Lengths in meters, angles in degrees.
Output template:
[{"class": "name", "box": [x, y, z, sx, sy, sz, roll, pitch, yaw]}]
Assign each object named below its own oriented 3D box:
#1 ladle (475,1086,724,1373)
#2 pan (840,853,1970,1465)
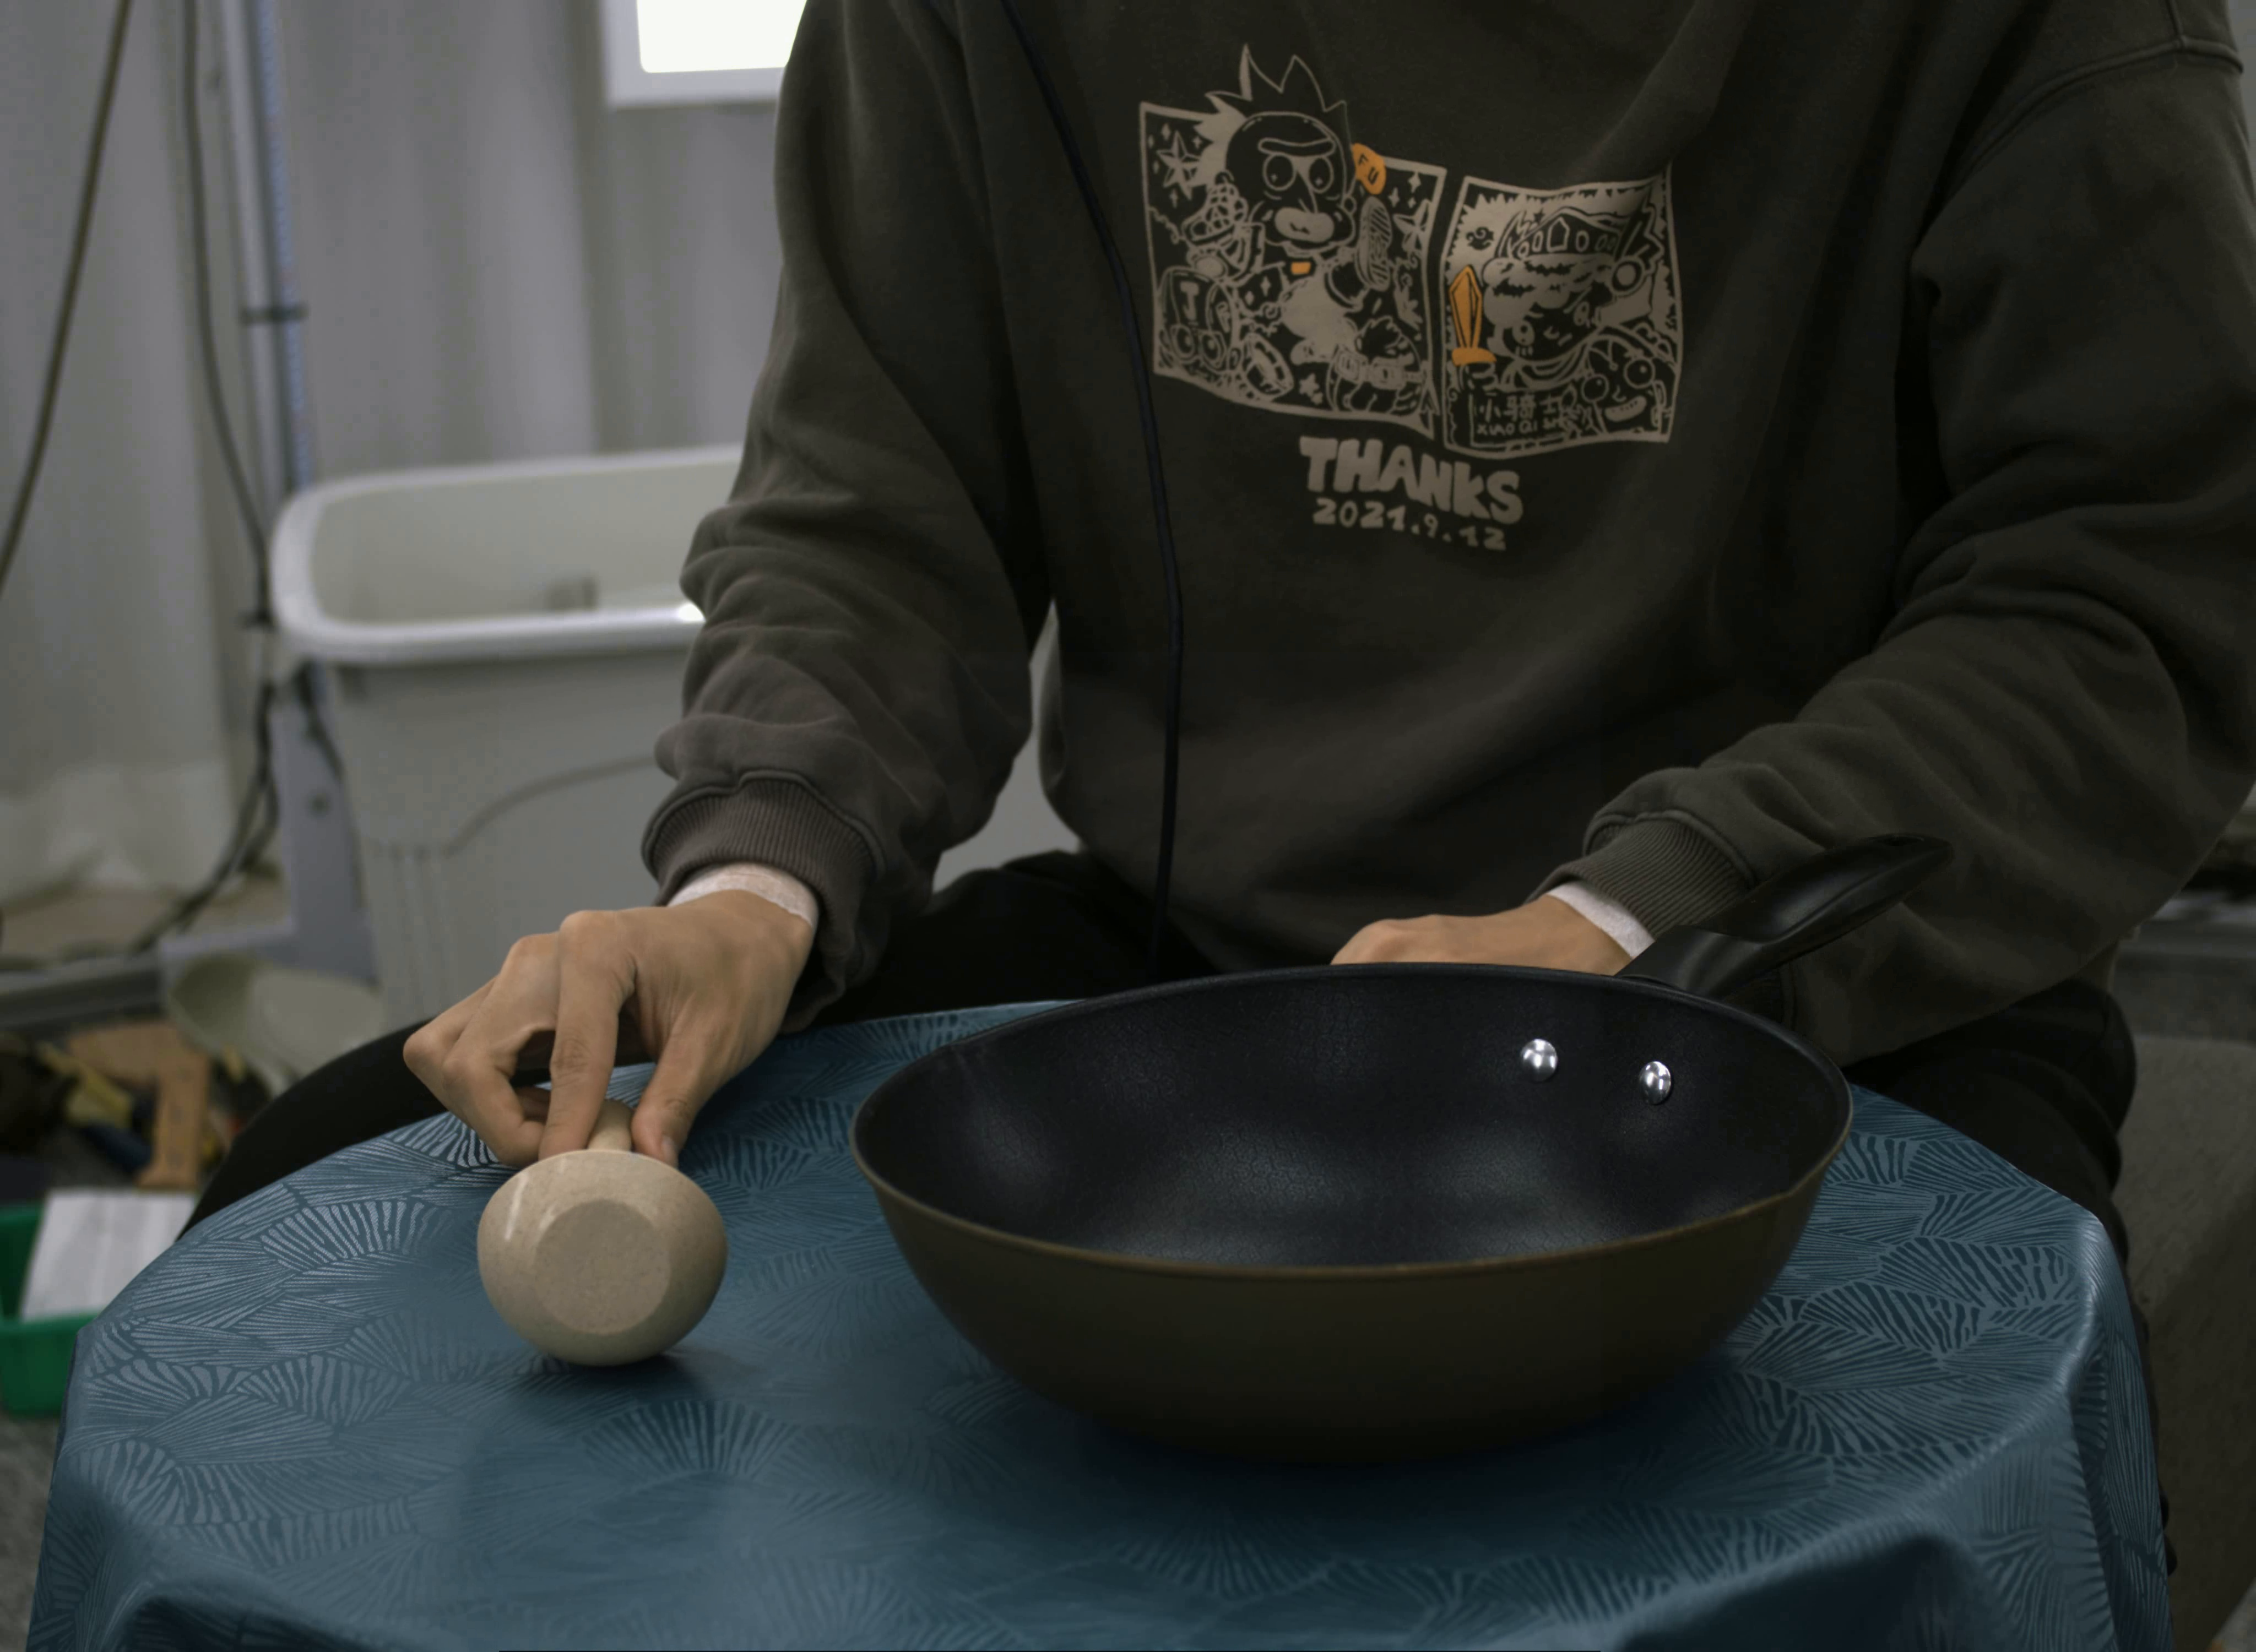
[{"class": "ladle", "box": [-0.163, 0.094, 1.680, 0.072, 0.072, 0.257, 1, 18, -6]}, {"class": "pan", "box": [0.117, 0.095, 1.615, 0.289, 0.086, 0.463, 8, 18, 37]}]
